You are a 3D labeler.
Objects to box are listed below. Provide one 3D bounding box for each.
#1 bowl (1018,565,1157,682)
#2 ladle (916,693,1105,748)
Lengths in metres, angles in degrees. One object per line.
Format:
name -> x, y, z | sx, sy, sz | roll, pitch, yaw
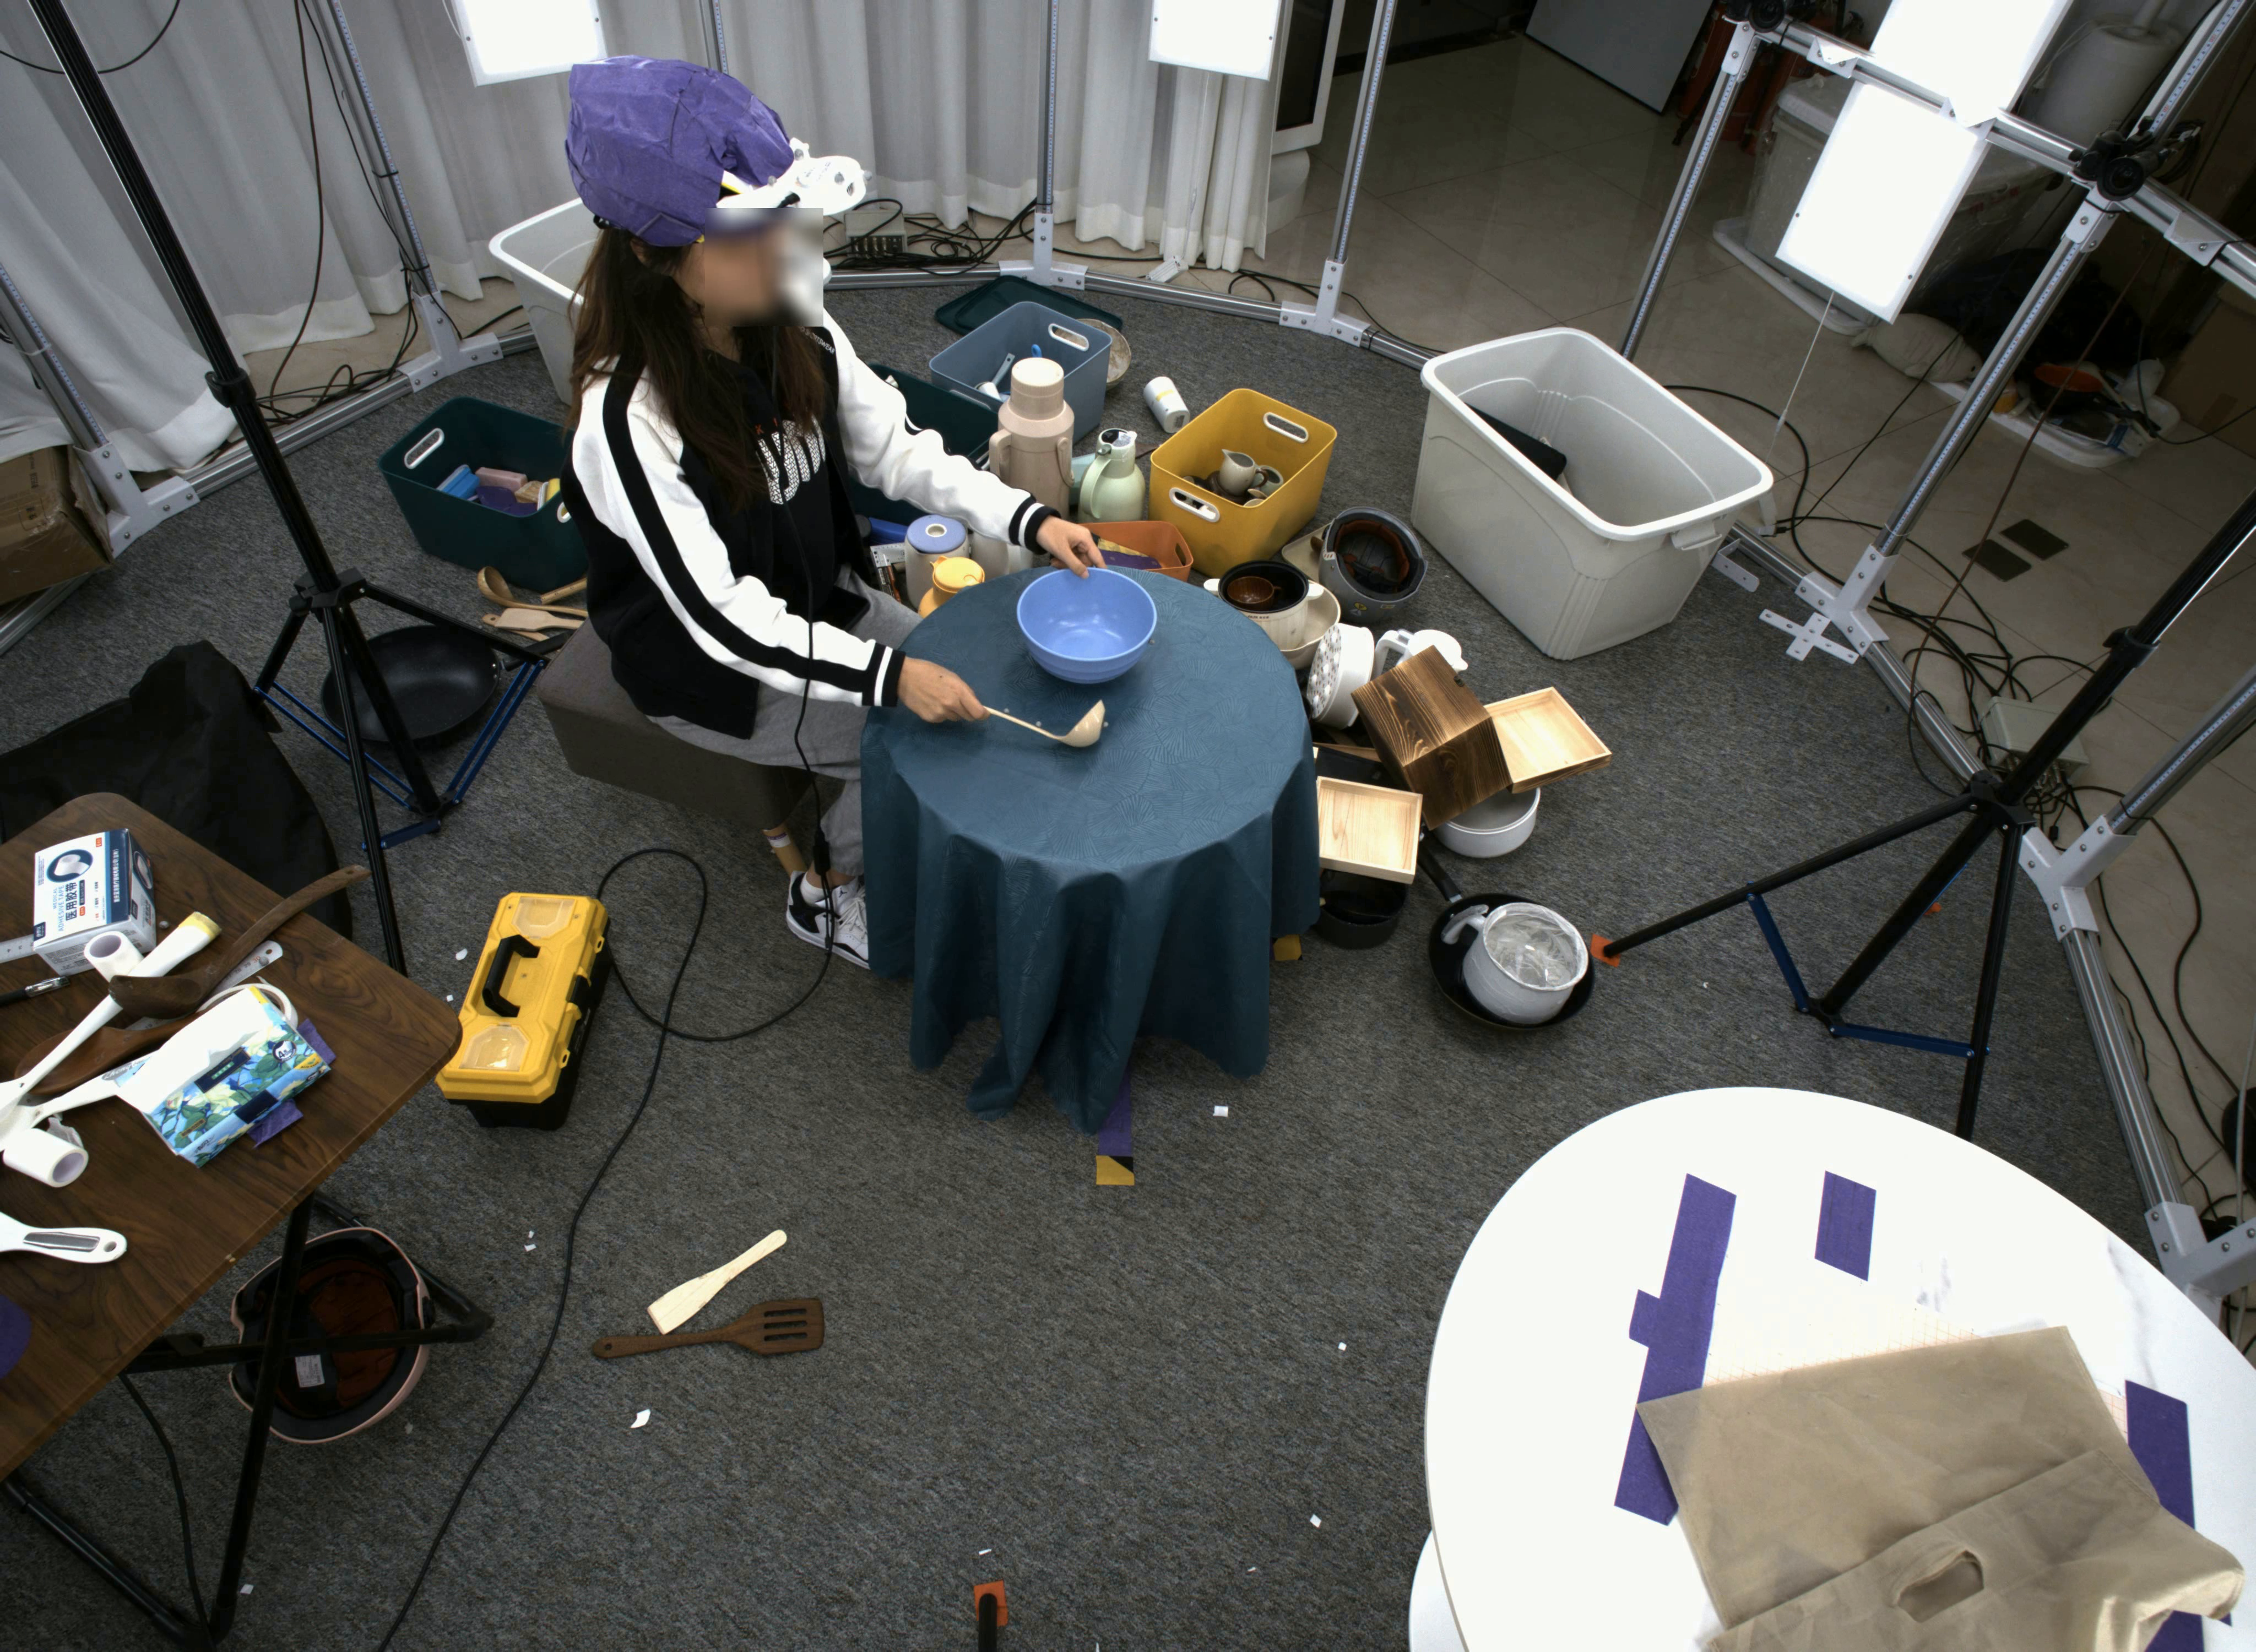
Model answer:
bowl -> -0.061, -0.274, 1.839 | 0.196, 0.093, 0.201 | 4, 49, -5
ladle -> -0.155, -0.171, 1.740 | 0.254, 0.072, 0.073 | 18, 11, -1
